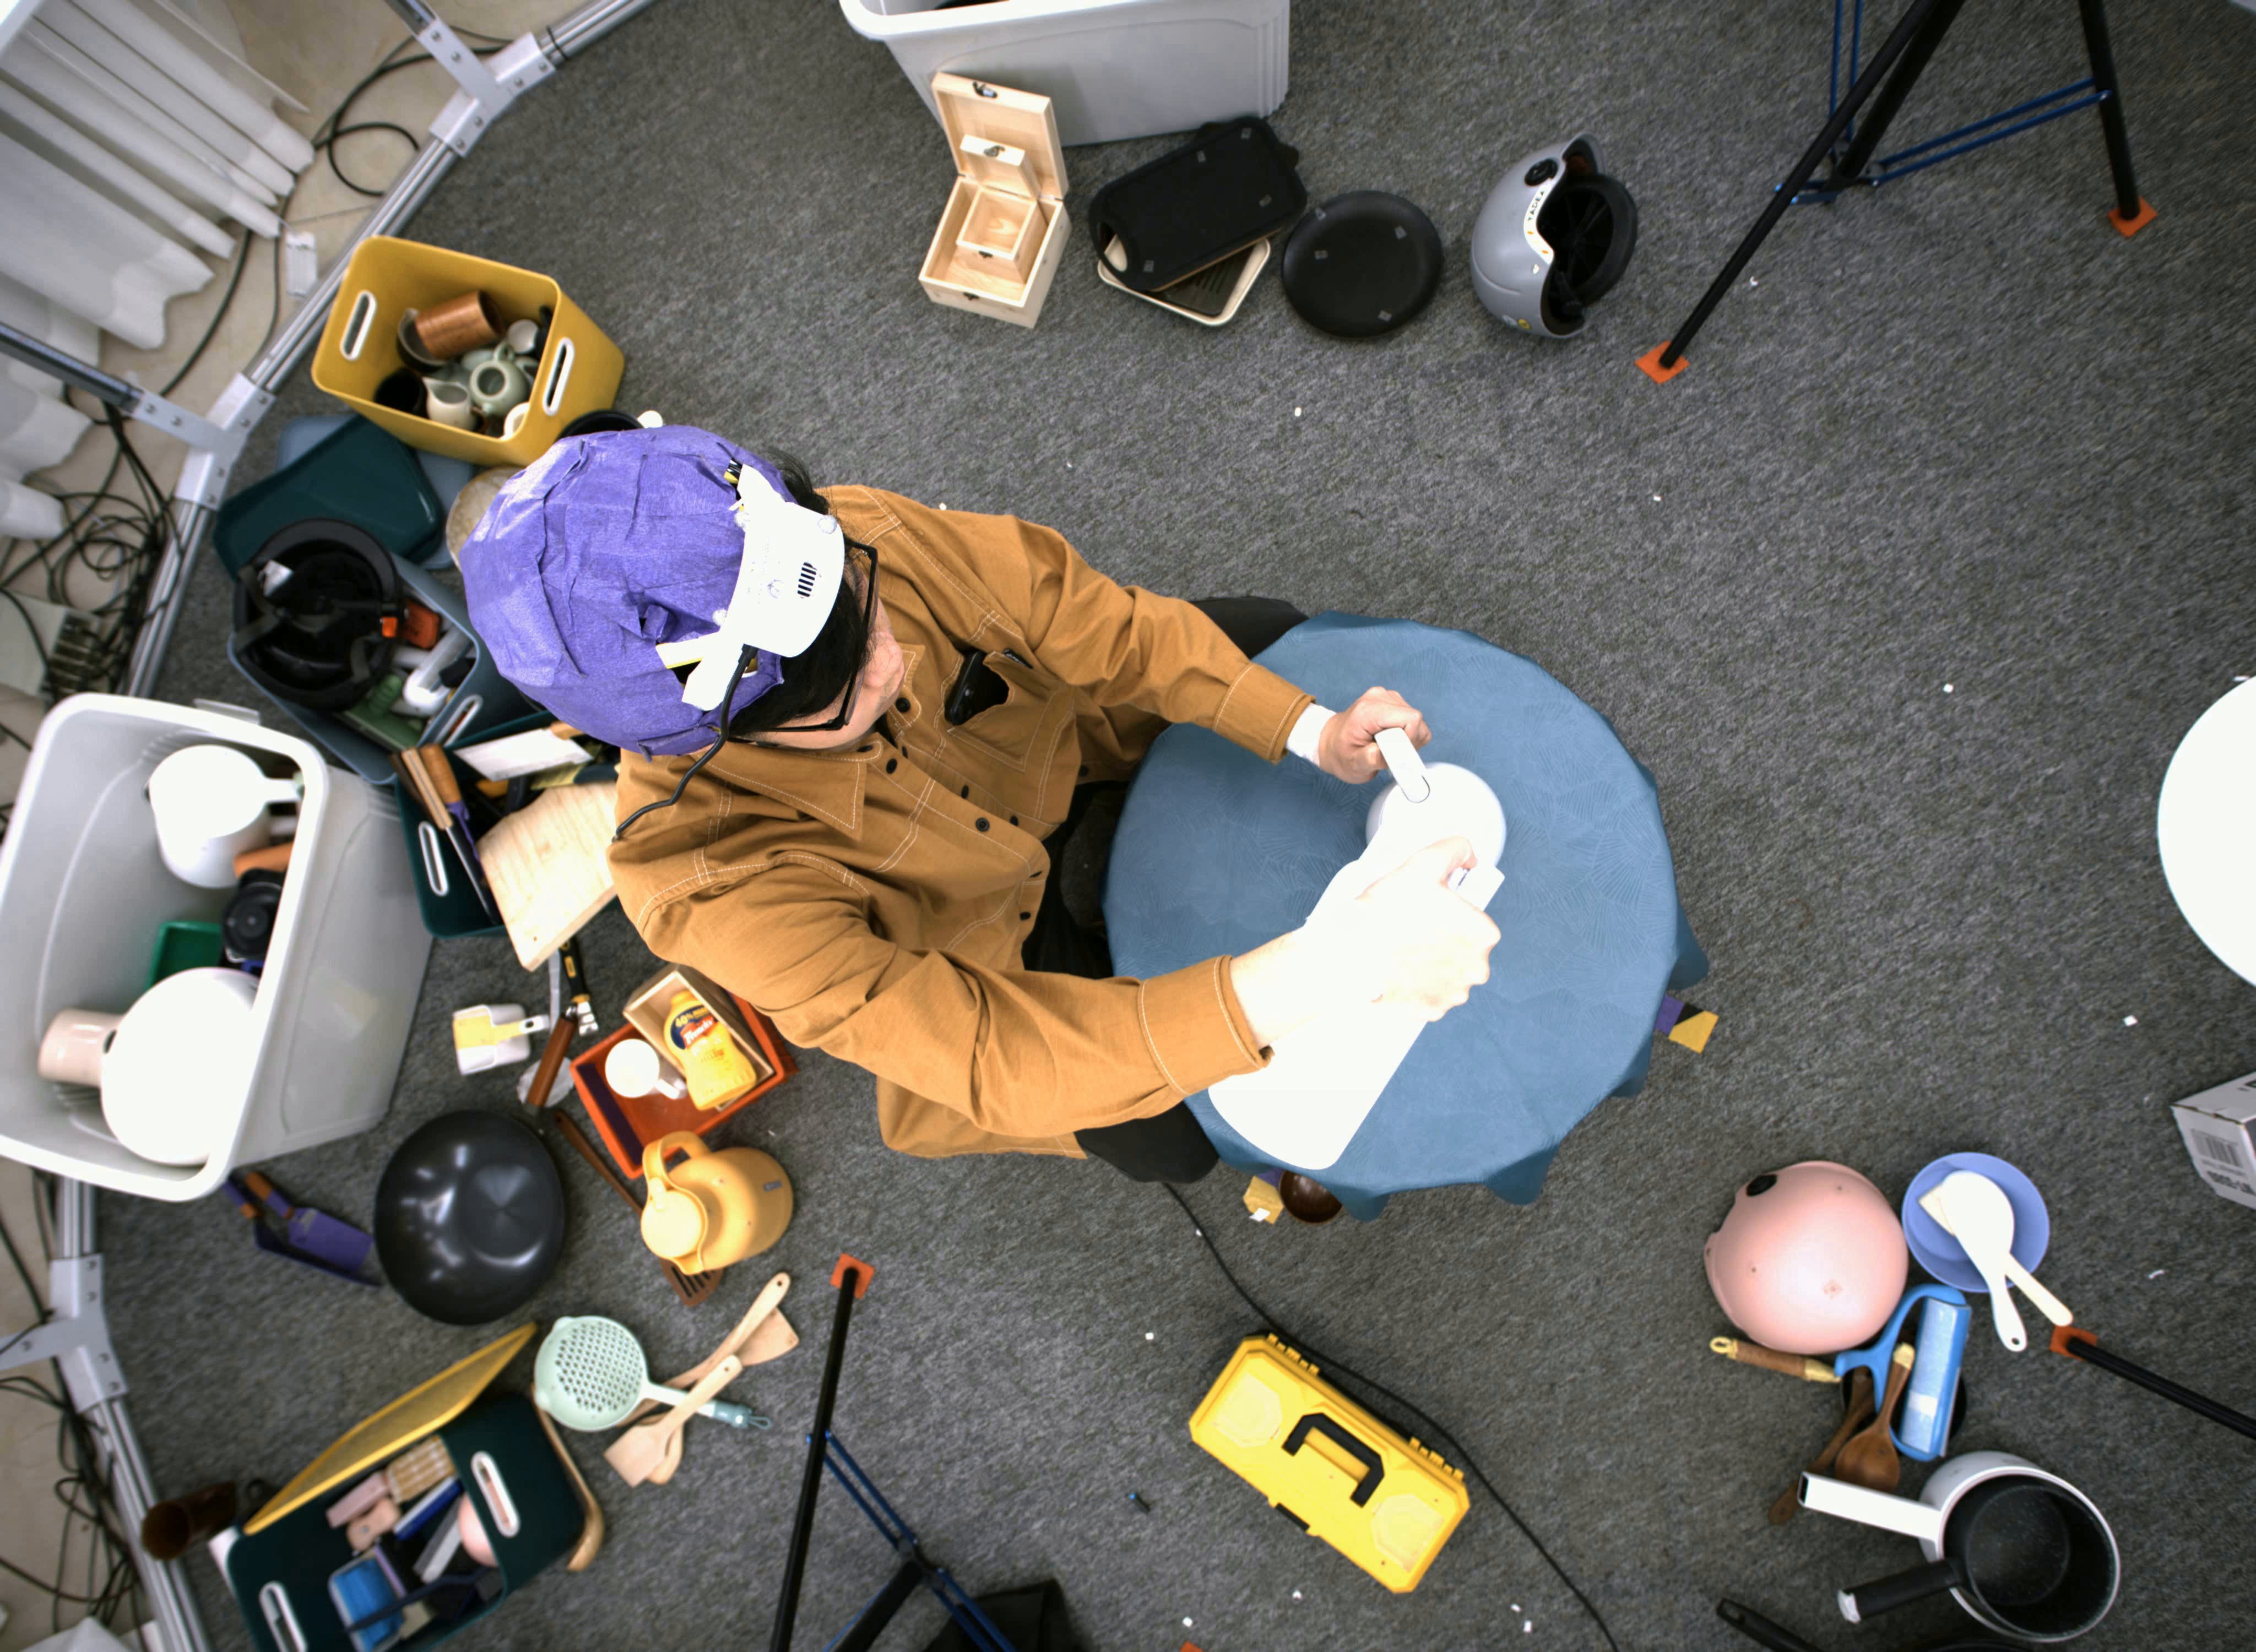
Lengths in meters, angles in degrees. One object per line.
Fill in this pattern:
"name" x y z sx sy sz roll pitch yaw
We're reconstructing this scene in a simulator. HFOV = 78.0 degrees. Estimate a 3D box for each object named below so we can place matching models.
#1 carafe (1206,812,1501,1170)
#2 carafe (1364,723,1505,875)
"carafe" 0.172 0.130 1.046 0.124 0.170 0.272 31 105 -4
"carafe" 0.272 -0.014 1.267 0.133 0.248 0.167 -27 82 10
